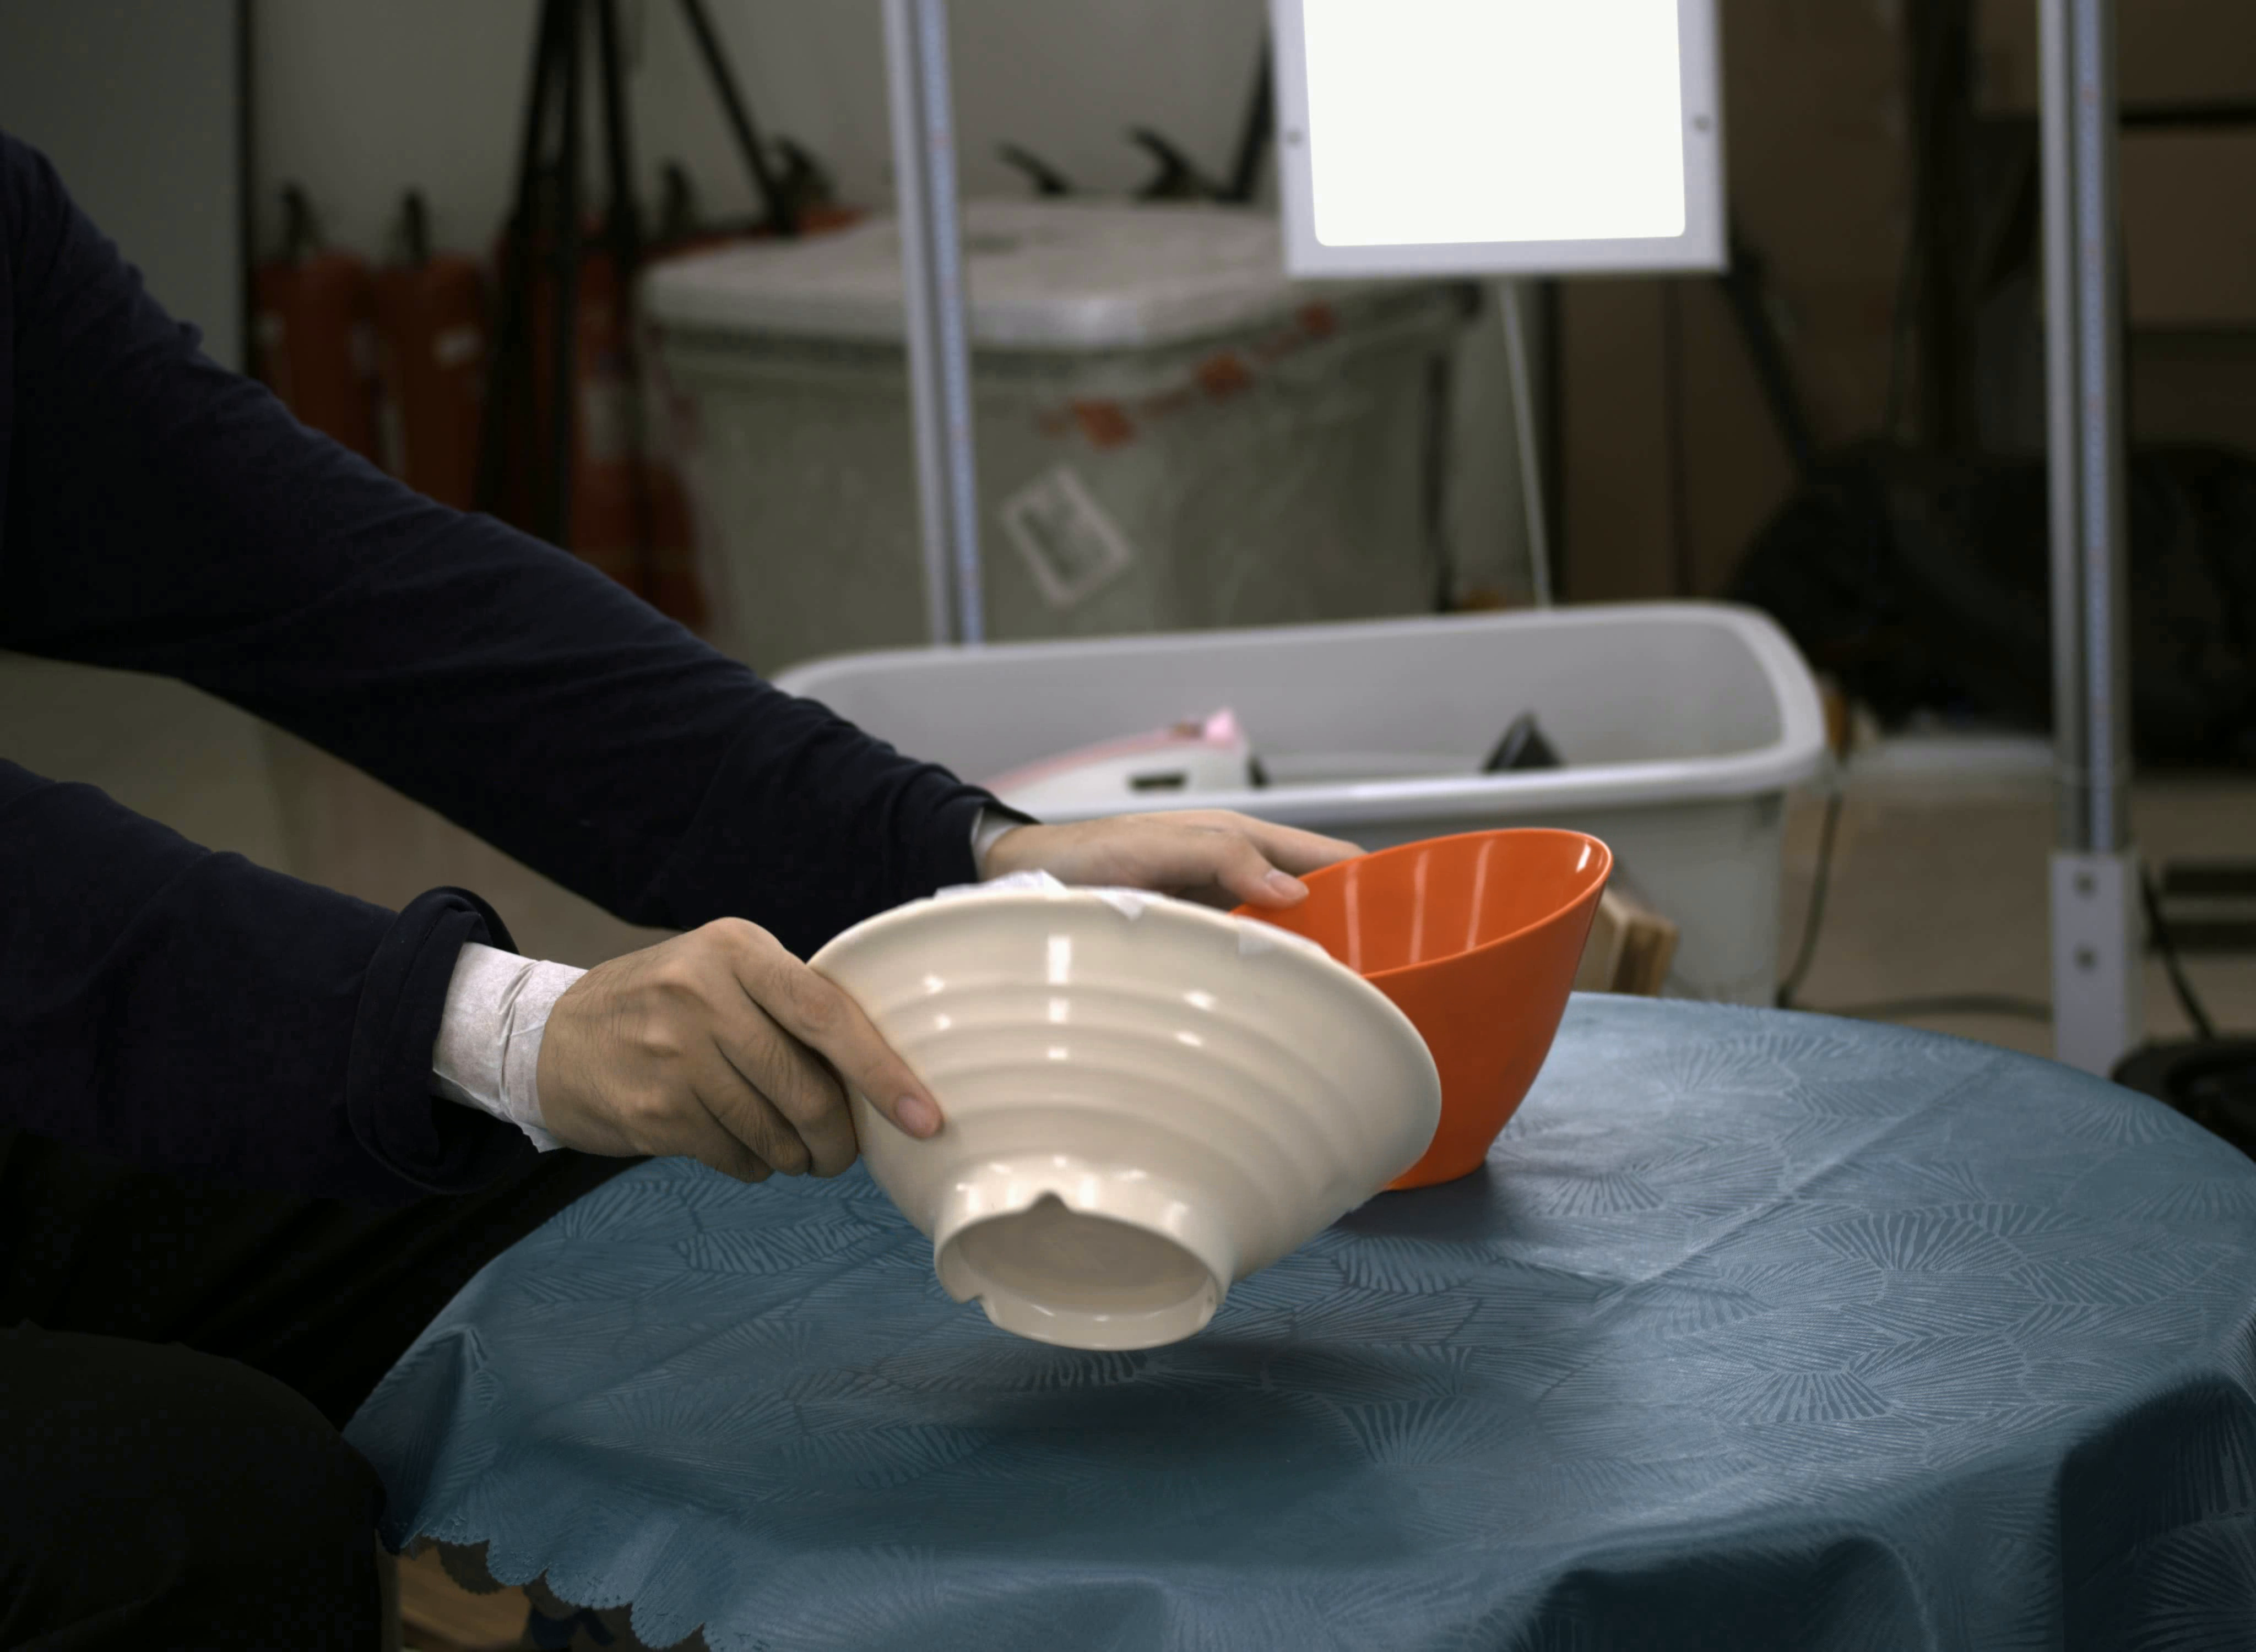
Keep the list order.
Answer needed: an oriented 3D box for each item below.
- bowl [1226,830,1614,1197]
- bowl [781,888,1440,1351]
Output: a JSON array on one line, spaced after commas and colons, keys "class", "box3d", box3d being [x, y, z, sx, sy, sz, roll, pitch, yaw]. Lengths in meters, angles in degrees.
[{"class": "bowl", "box3d": [0.099, 0.067, 1.896, 0.148, 0.105, 0.148, -7, 14, 0]}, {"class": "bowl", "box3d": [-0.010, 0.104, 1.659, 0.206, 0.203, 0.077, 0, 57, 16]}]
